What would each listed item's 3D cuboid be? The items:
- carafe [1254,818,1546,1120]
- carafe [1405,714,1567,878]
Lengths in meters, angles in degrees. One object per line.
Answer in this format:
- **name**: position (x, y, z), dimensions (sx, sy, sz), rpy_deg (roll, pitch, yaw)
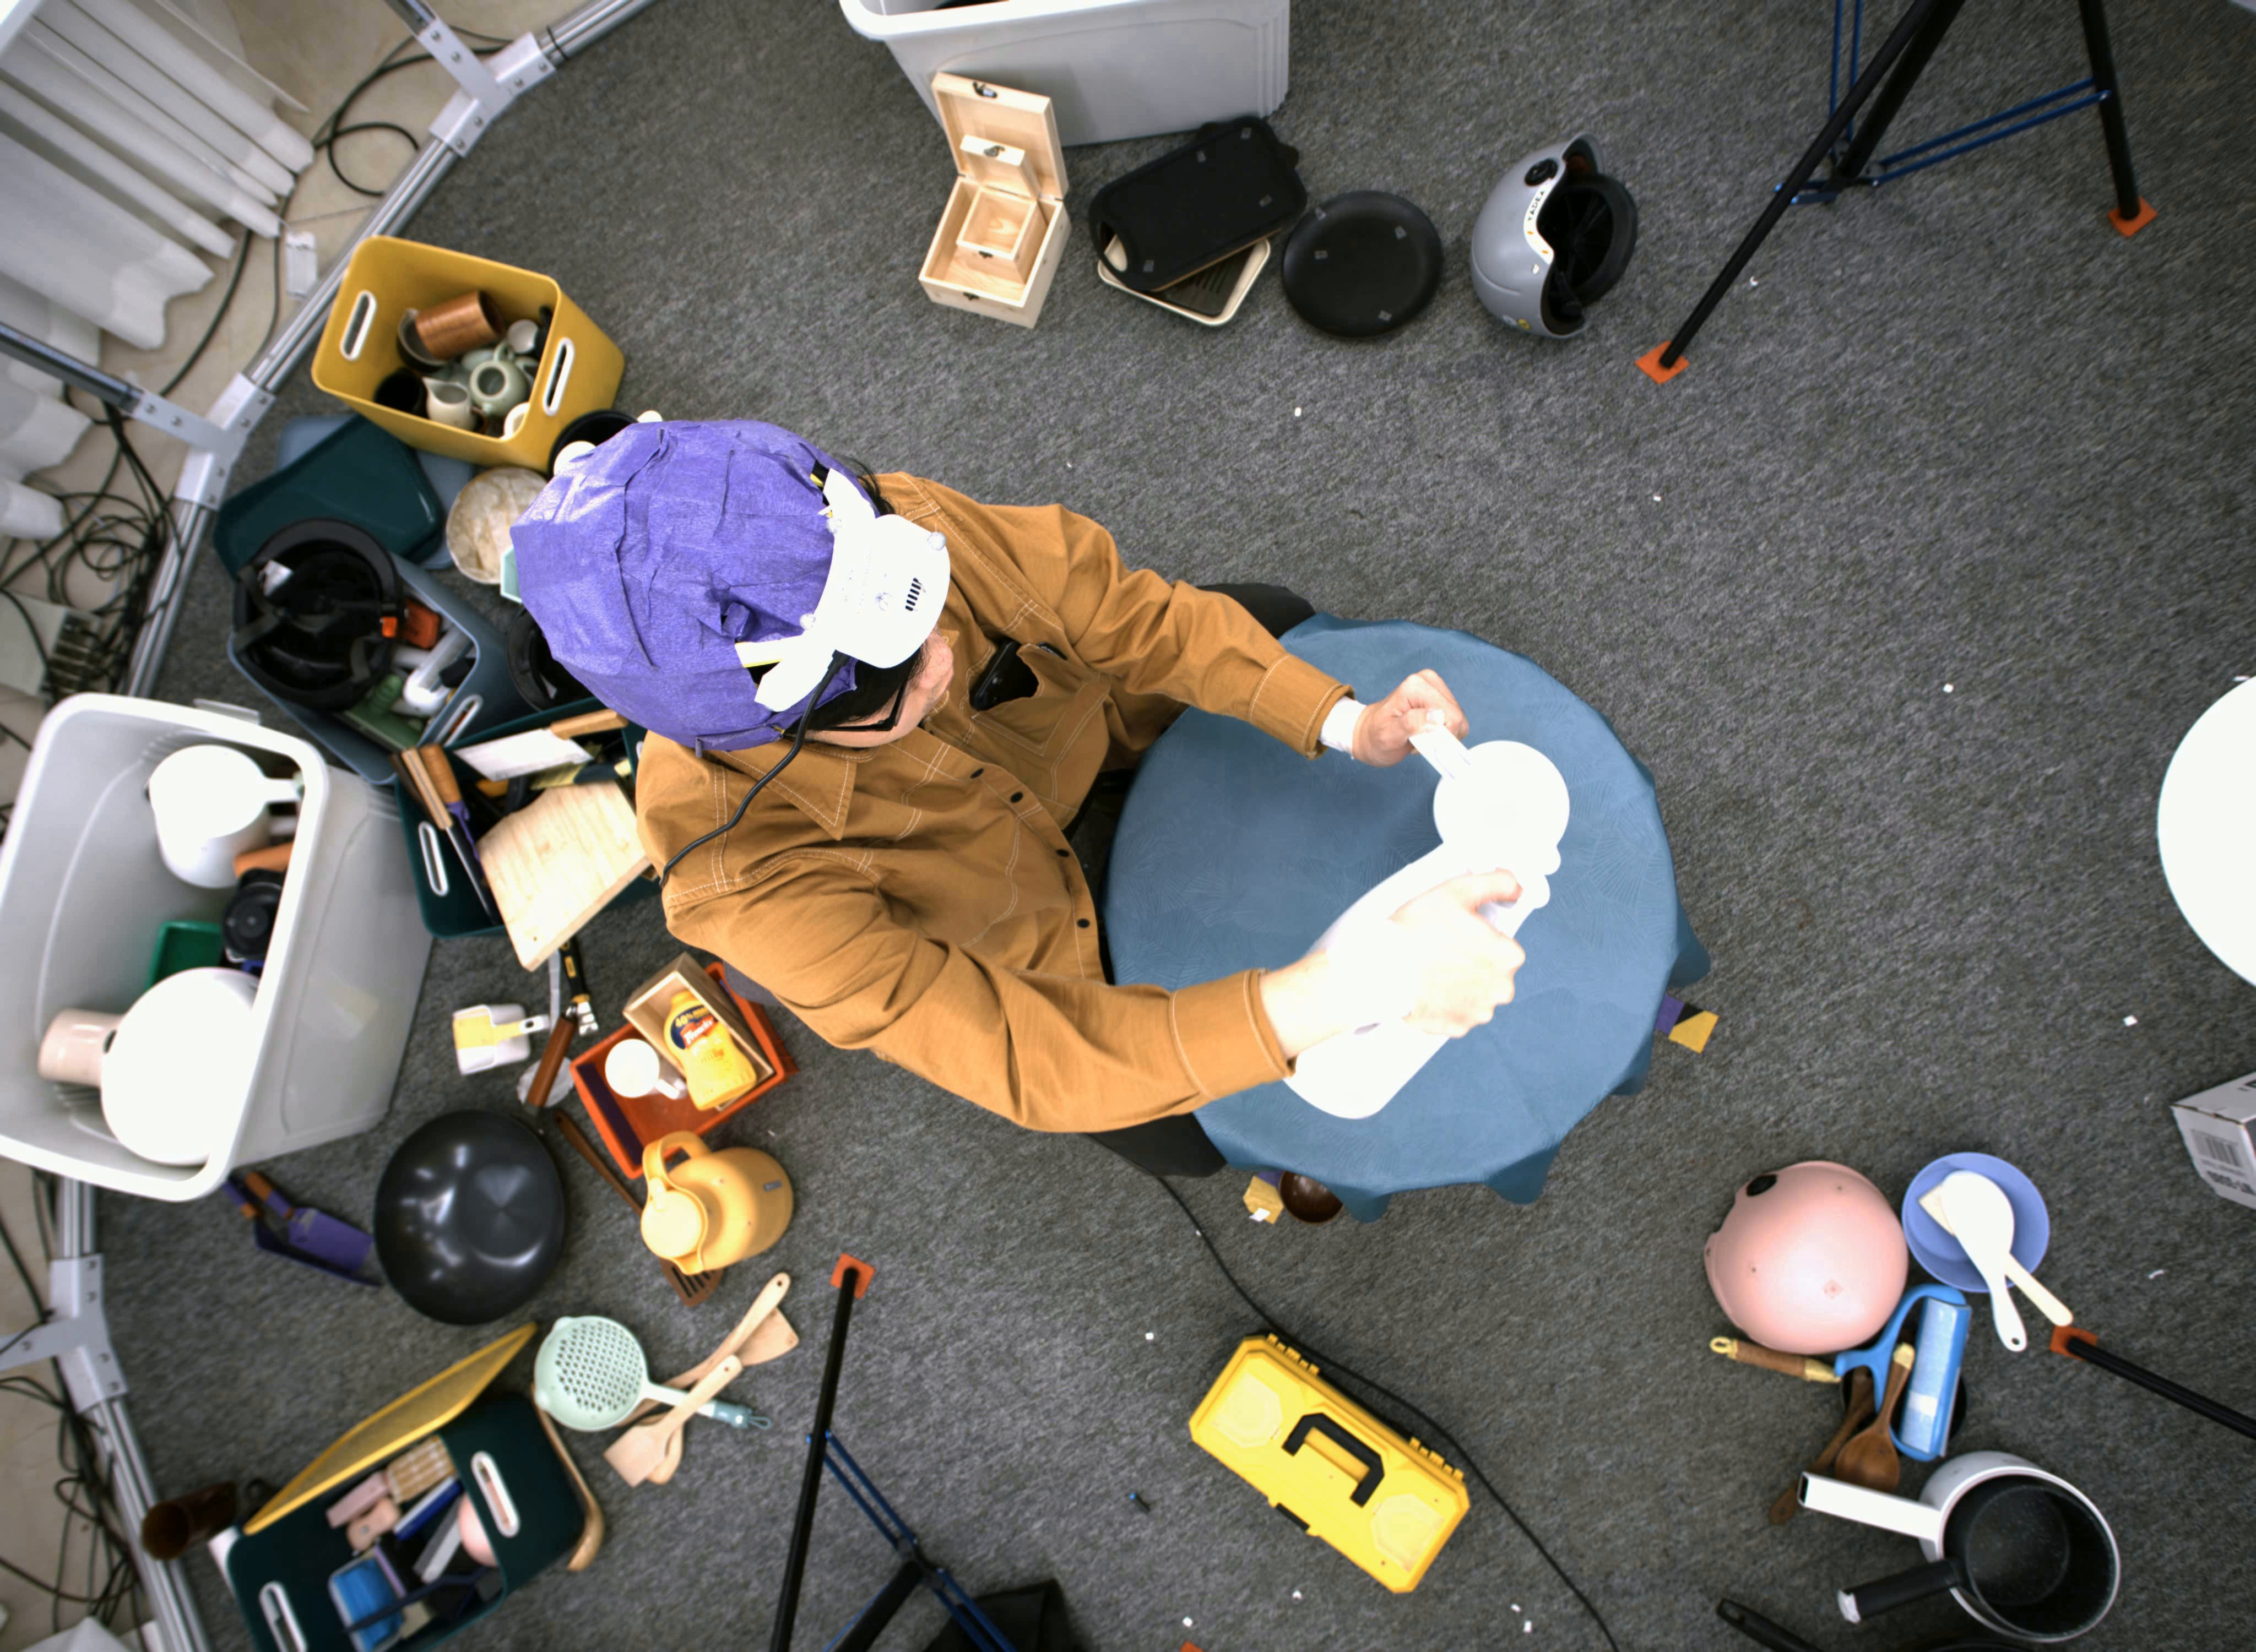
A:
- **carafe**: position (0.217, 0.116, 1.082), dimensions (0.133, 0.163, 0.254), rpy_deg (33, 123, -3)
- **carafe**: position (0.330, -0.033, 1.271), dimensions (0.125, 0.266, 0.172), rpy_deg (-45, 82, 17)
